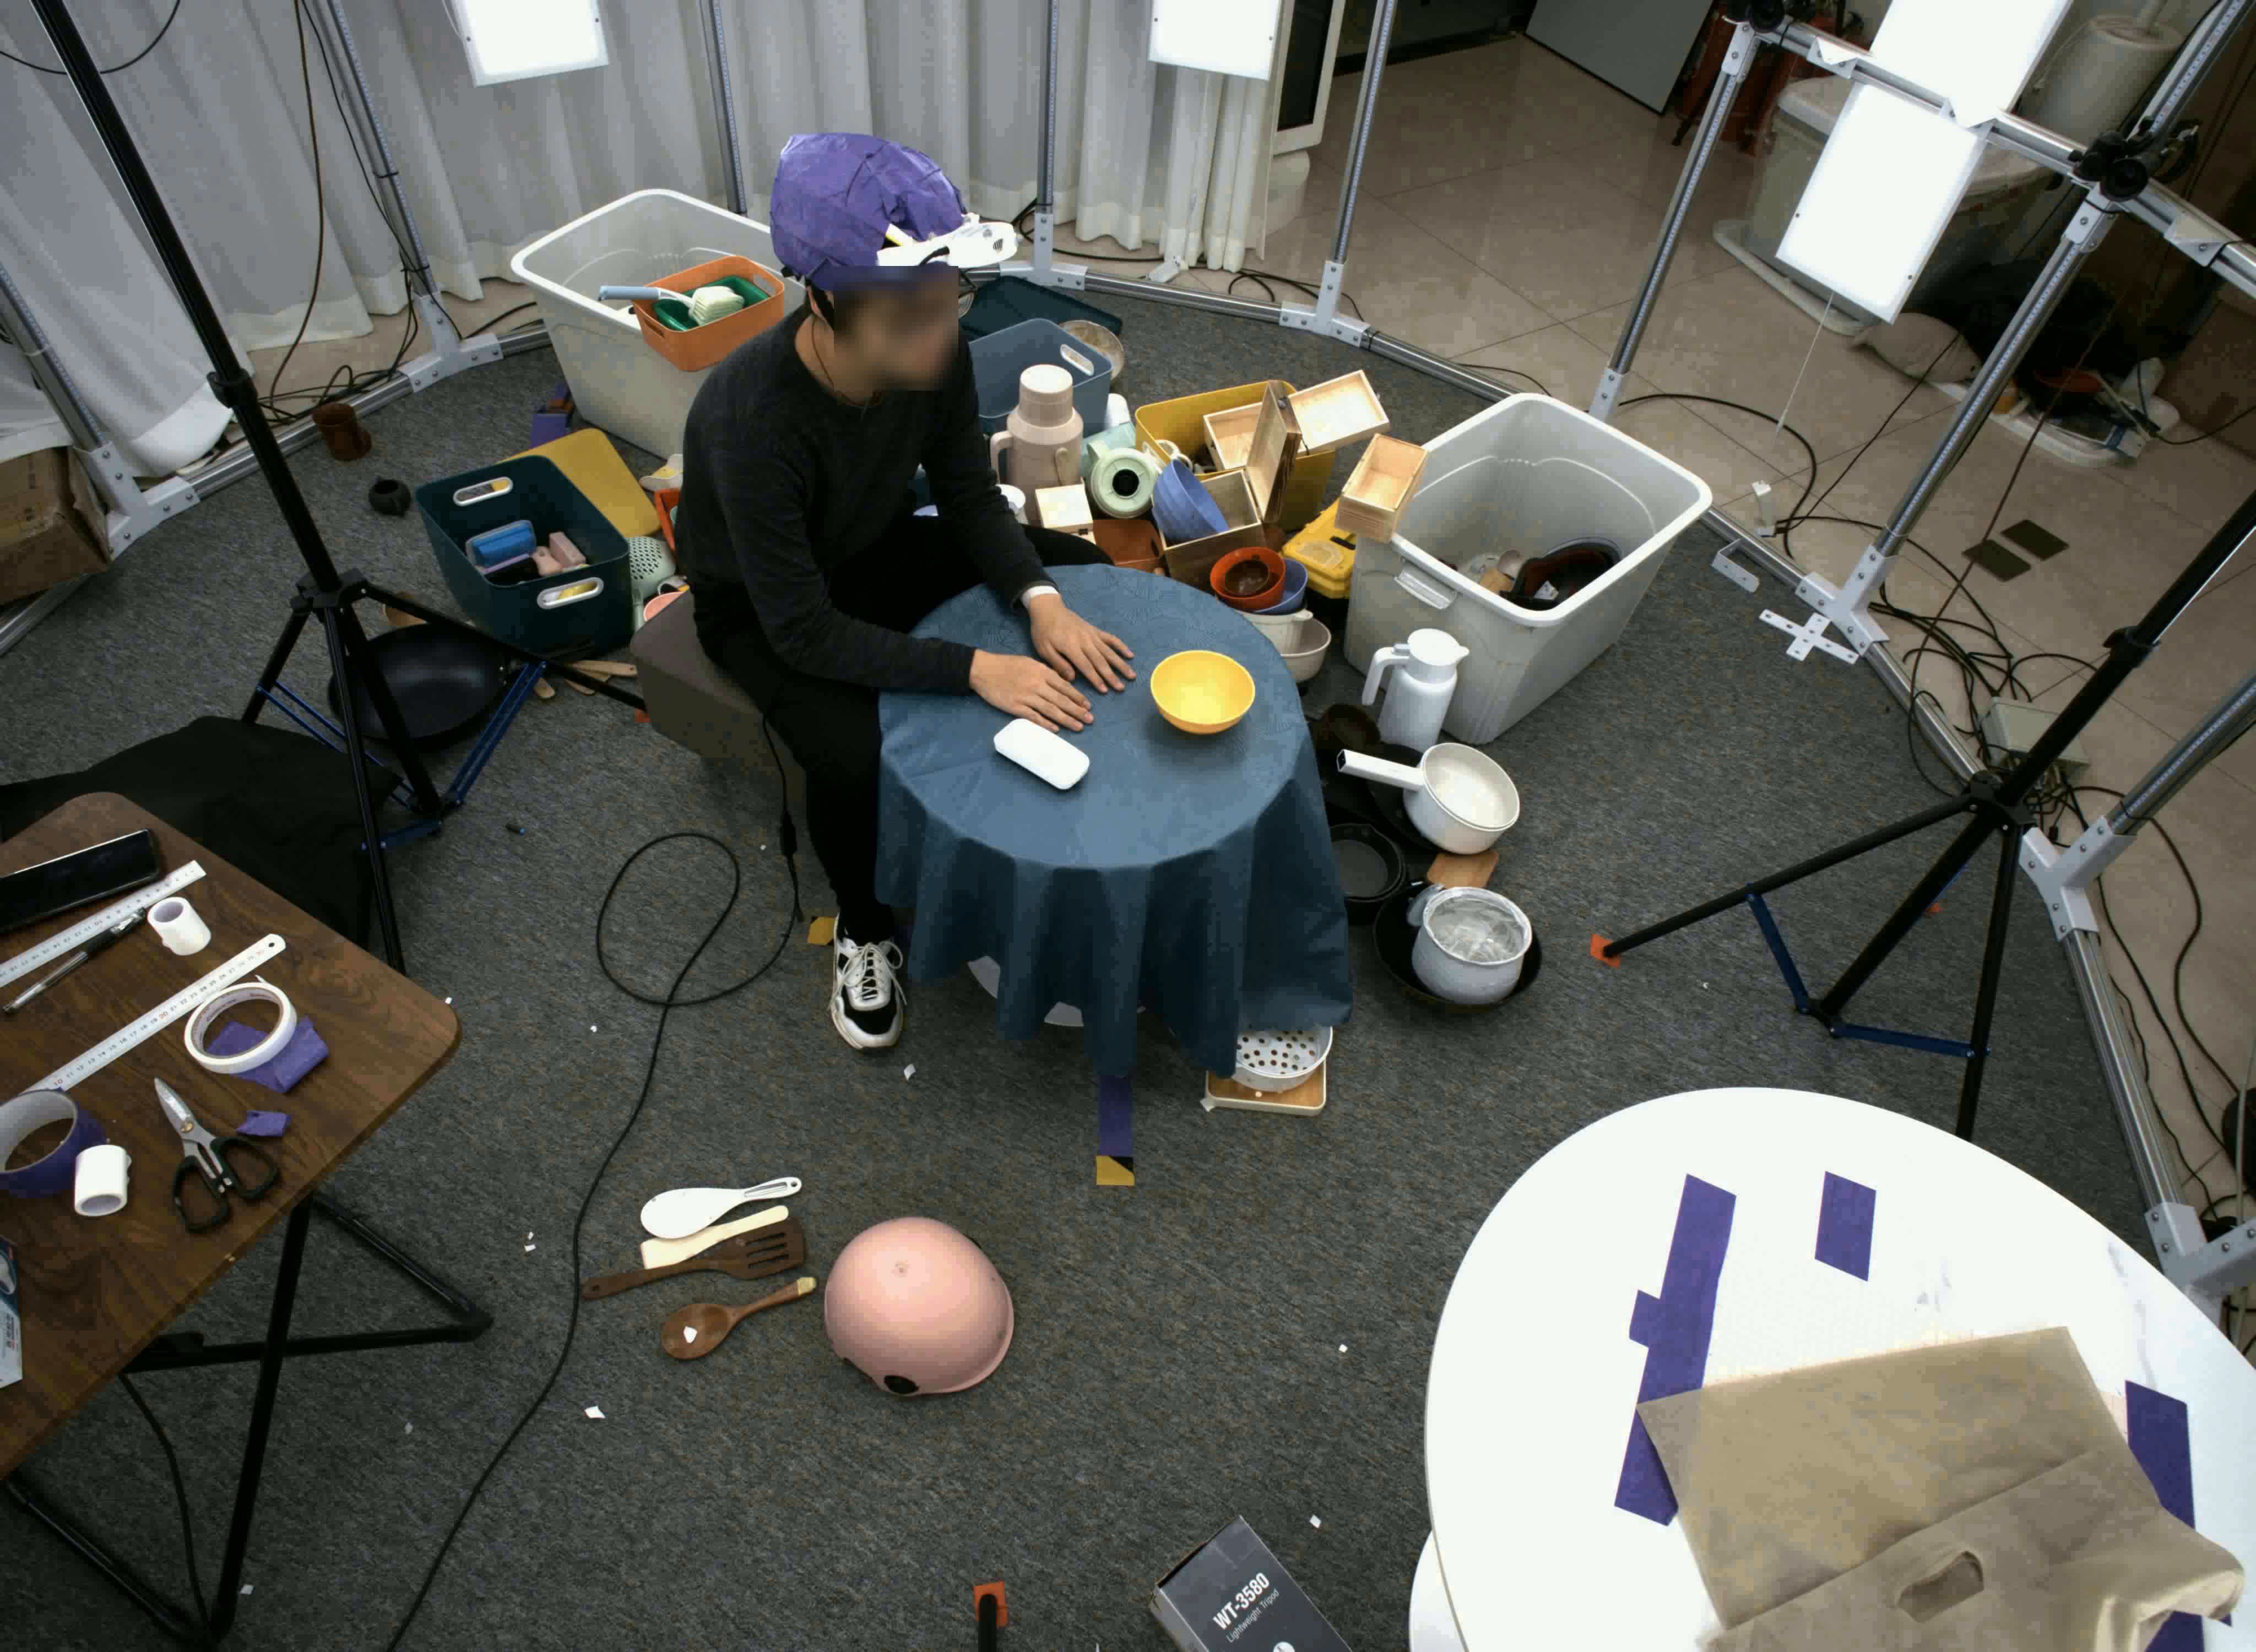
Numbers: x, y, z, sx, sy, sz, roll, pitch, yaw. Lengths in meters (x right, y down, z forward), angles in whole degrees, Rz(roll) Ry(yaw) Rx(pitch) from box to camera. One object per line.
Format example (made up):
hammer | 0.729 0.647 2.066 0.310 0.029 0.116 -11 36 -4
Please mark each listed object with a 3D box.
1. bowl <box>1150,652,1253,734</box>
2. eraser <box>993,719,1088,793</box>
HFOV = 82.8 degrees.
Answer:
bowl | 0.100 -0.174 1.791 0.145 0.058 0.149 3 48 -3
eraser | -0.117 -0.098 1.727 0.133 0.034 0.064 33 54 21
